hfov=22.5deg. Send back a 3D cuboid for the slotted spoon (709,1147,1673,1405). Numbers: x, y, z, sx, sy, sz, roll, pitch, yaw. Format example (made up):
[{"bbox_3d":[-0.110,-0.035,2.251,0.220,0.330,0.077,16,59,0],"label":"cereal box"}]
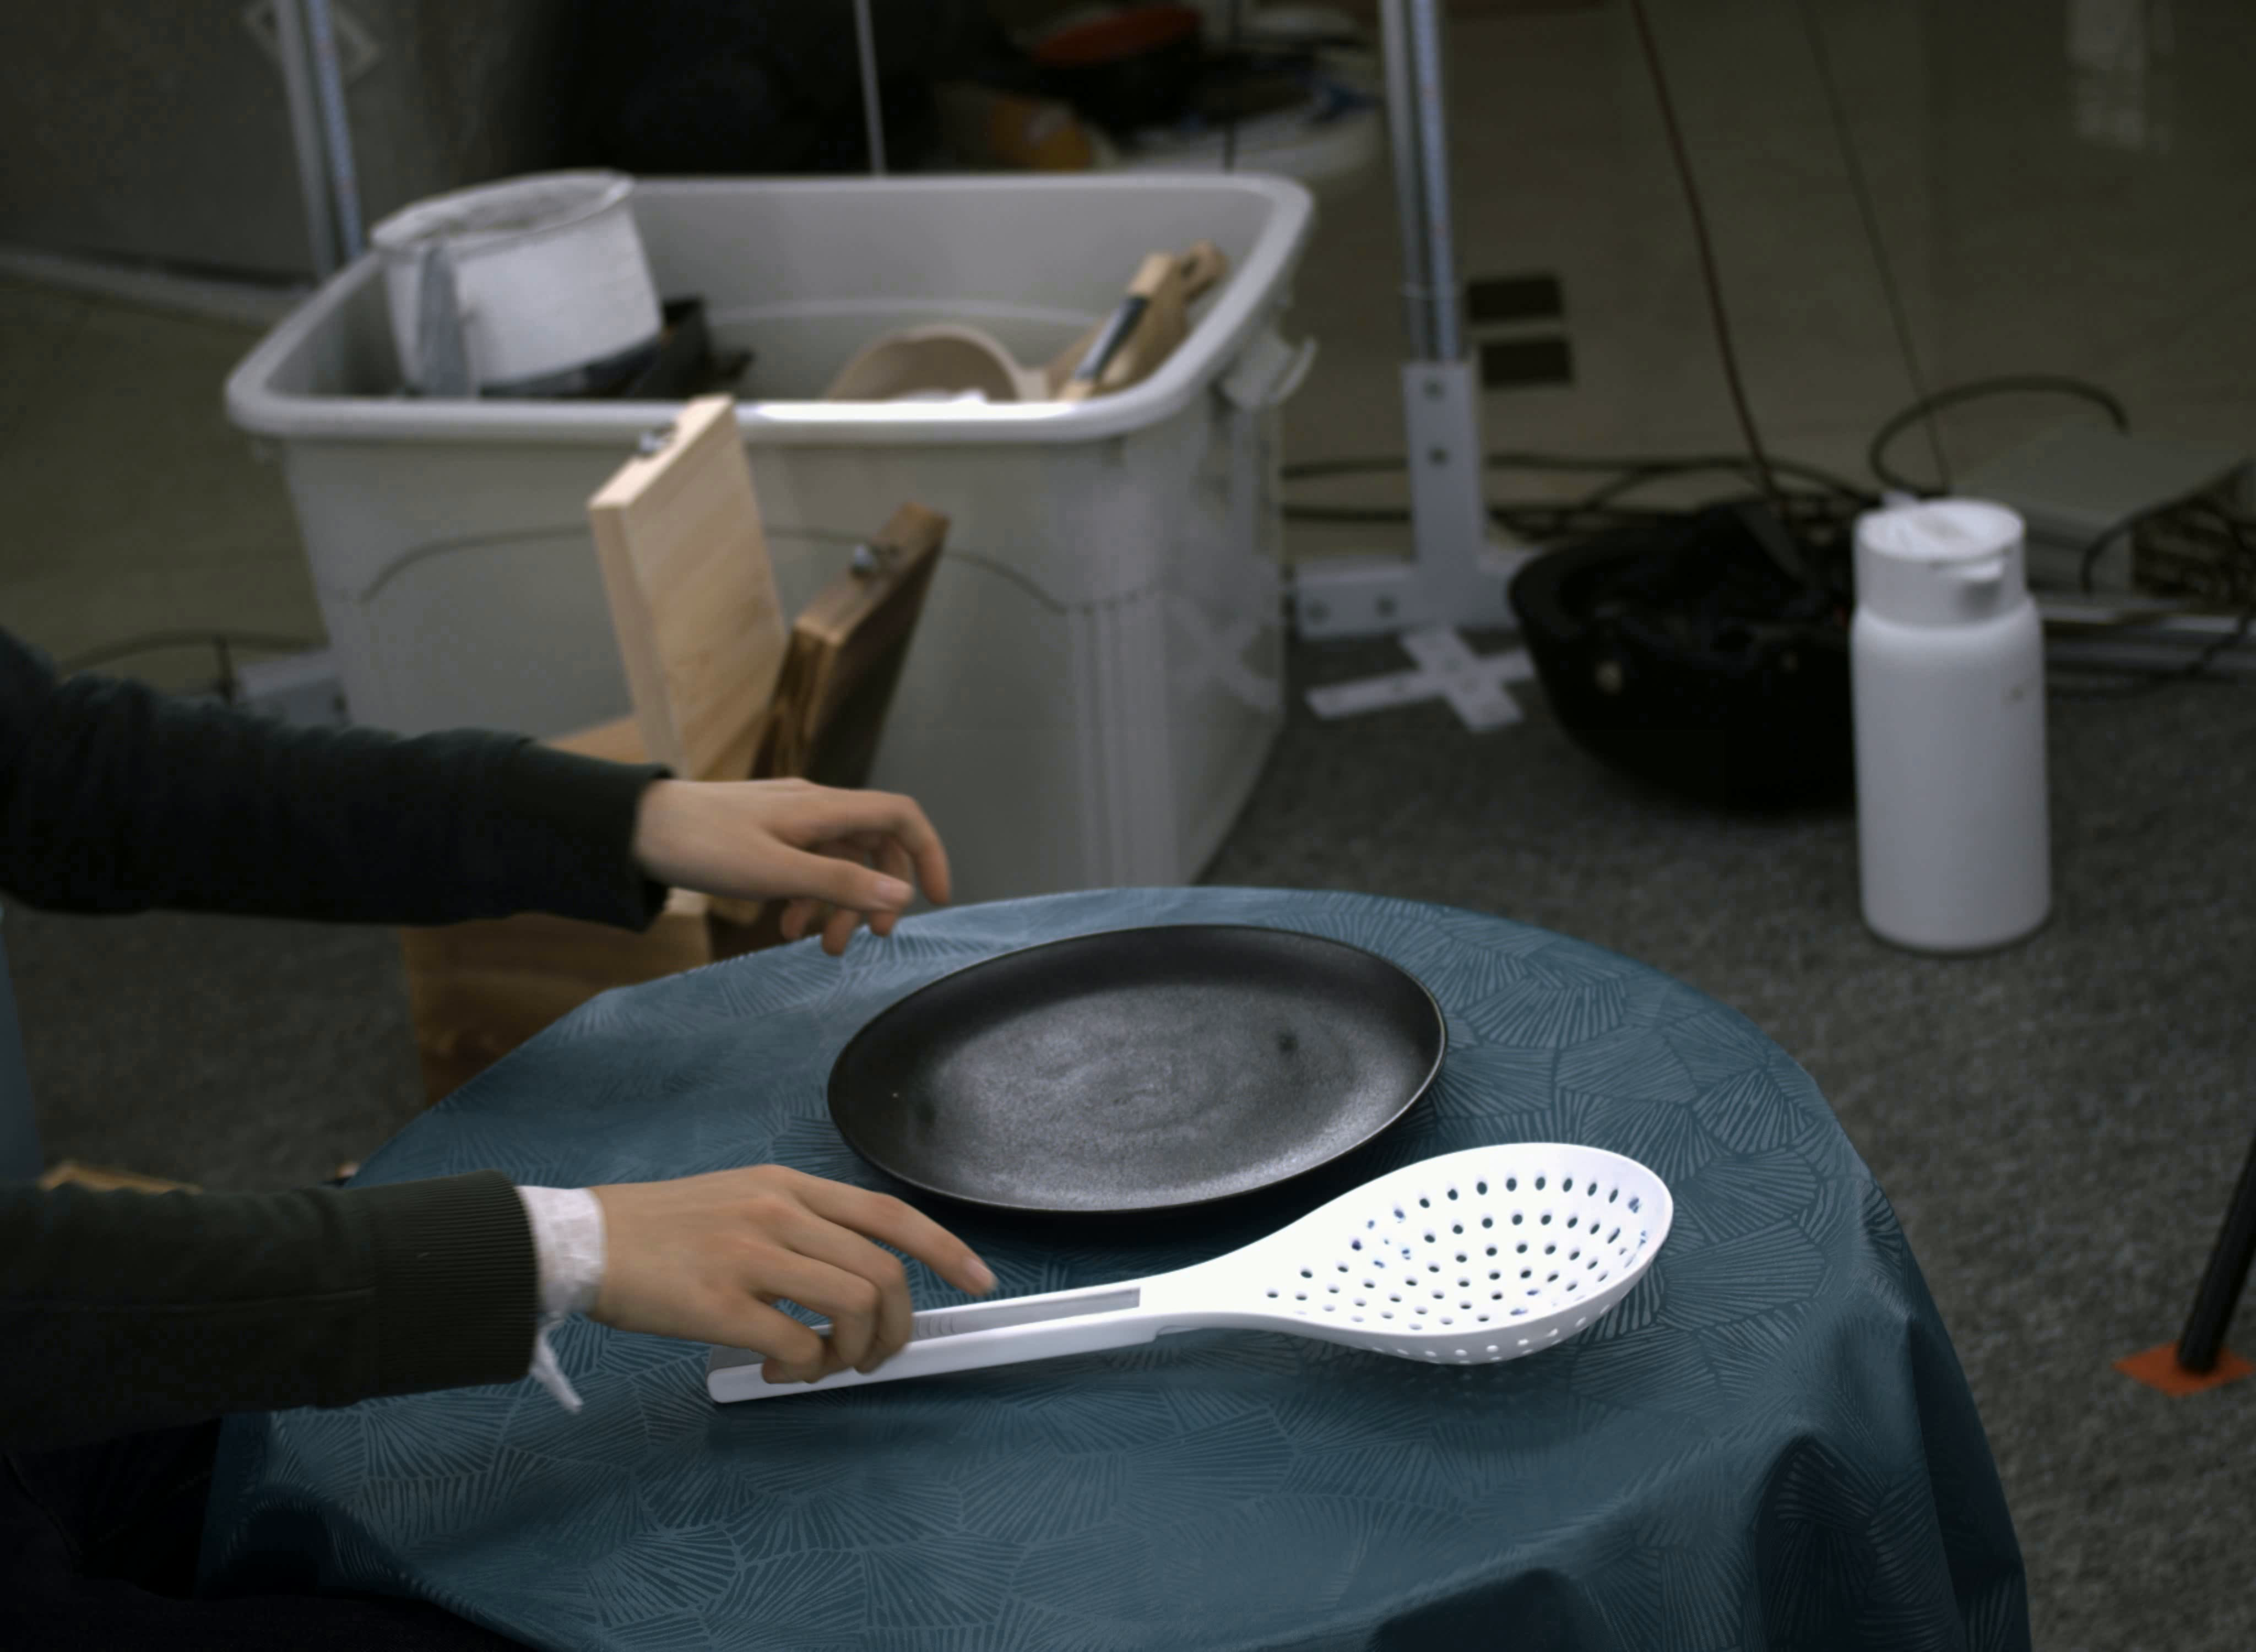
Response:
[{"bbox_3d":[0.021,0.170,2.026,0.349,0.046,0.134,-5,23,5],"label":"slotted spoon"}]

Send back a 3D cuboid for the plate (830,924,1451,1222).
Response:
[{"bbox_3d":[0.005,0.101,2.206,0.244,0.024,0.241,-6,25,3],"label":"plate"}]
